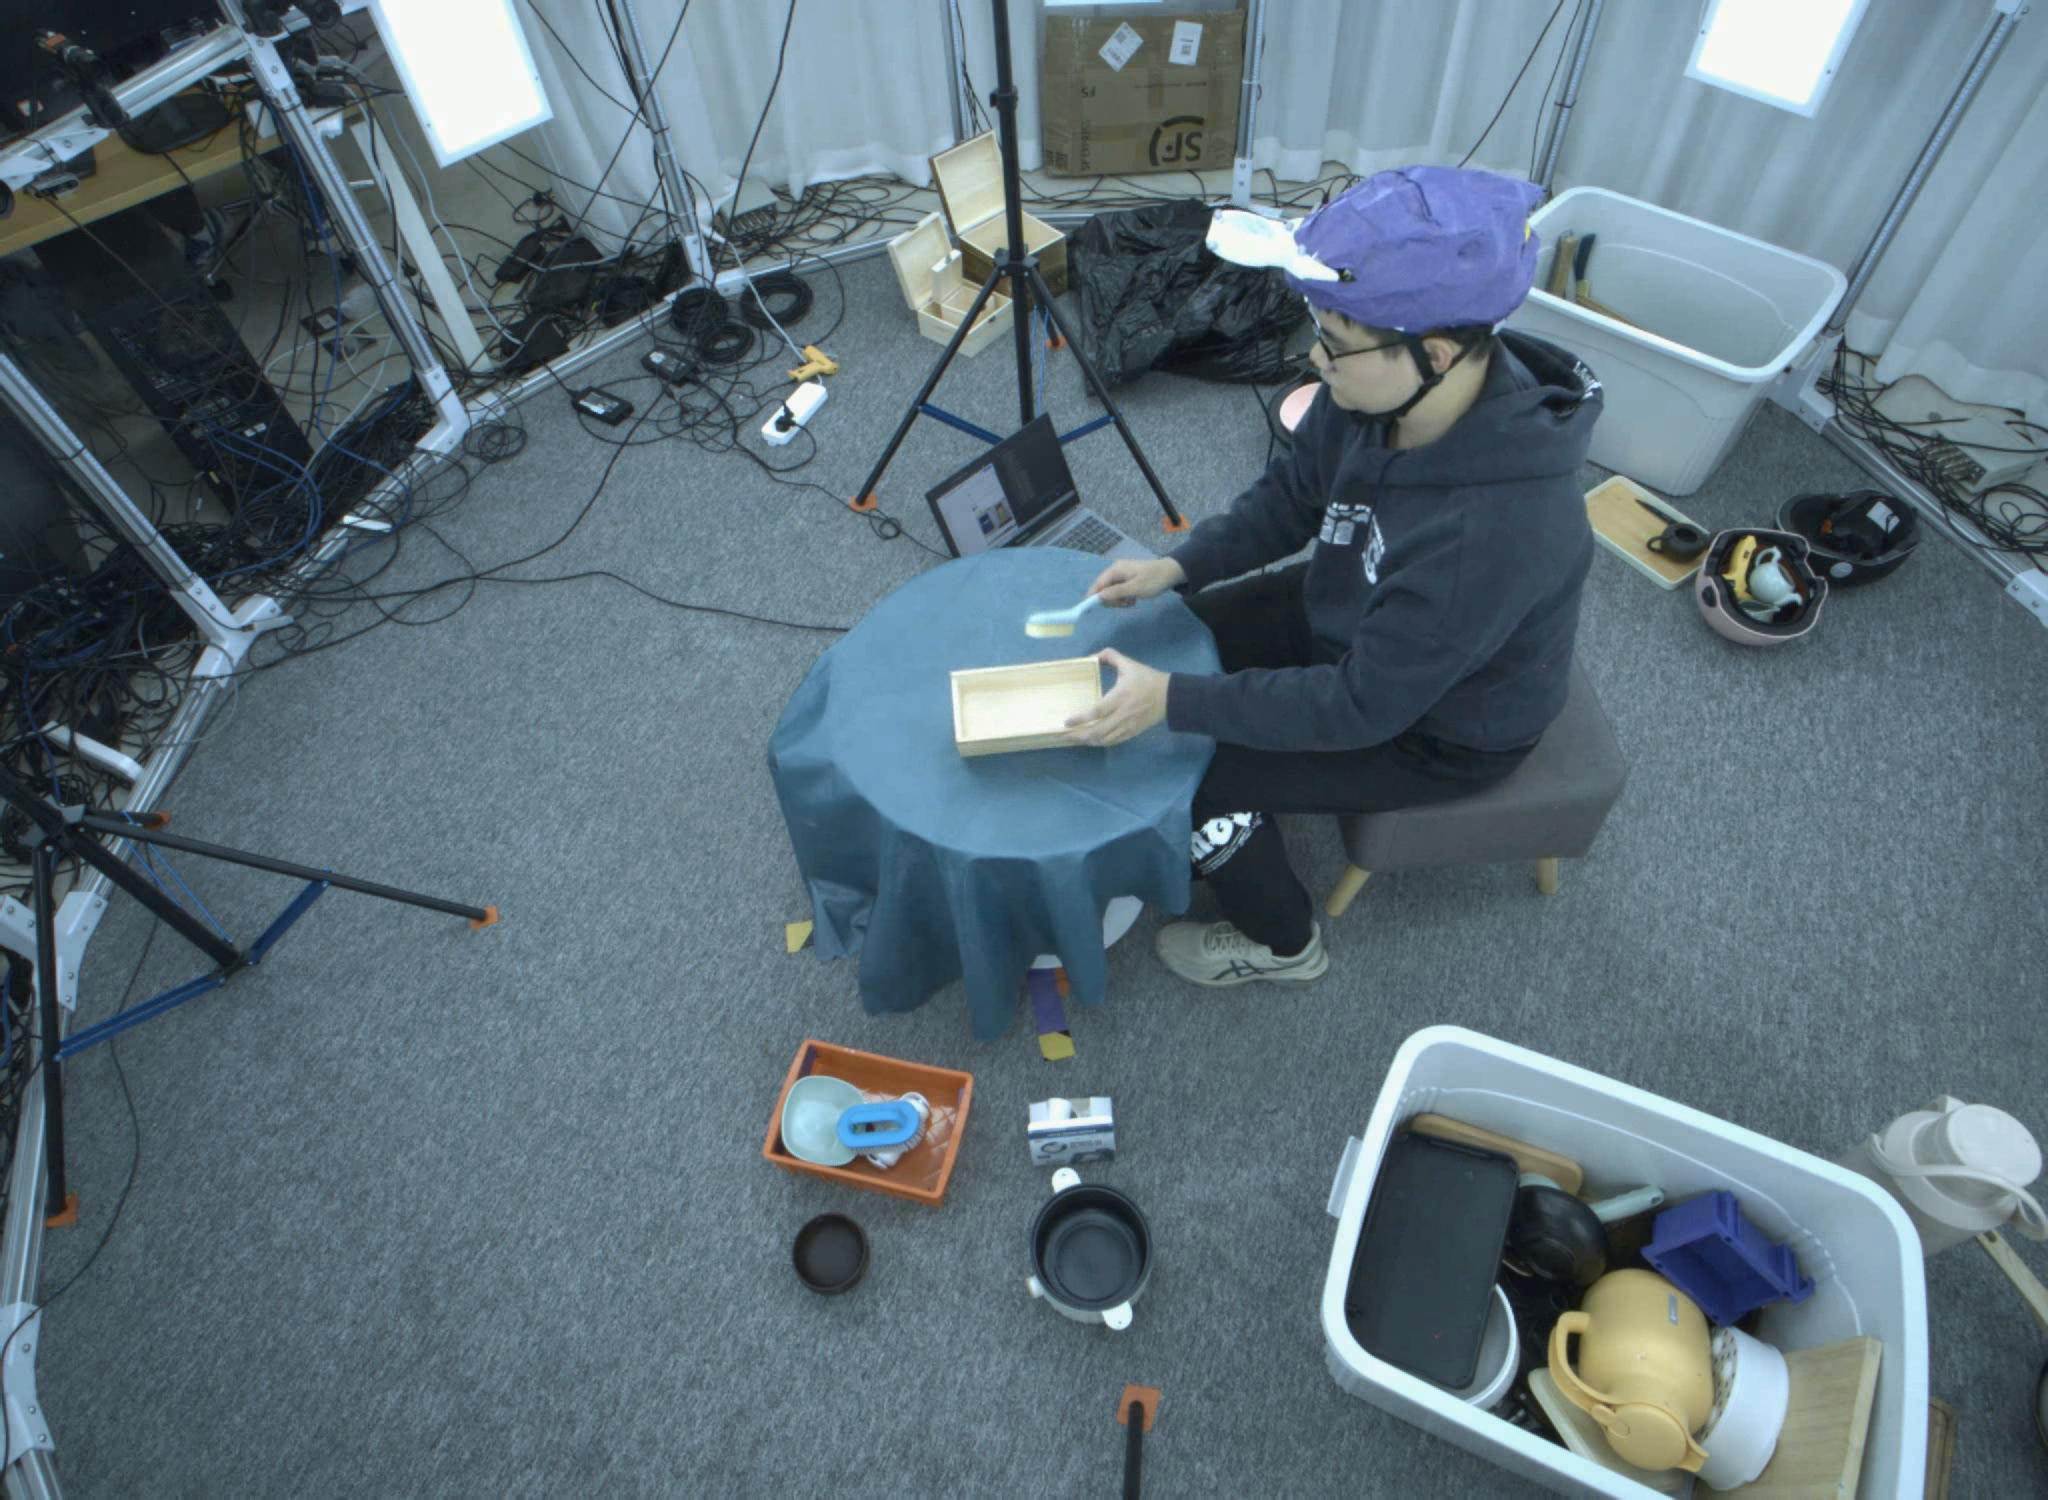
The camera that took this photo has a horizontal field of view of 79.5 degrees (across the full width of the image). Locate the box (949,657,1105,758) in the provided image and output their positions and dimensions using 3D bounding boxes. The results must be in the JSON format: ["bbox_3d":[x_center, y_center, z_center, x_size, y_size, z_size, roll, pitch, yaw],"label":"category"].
[{"bbox_3d":[0.006,-0.060,1.755,0.211,0.081,0.107,-6,75,1],"label":"box"}]

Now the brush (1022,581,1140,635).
[{"bbox_3d":[0.087,-0.209,1.826,0.232,0.050,0.037,-23,31,-38],"label":"brush"}]
